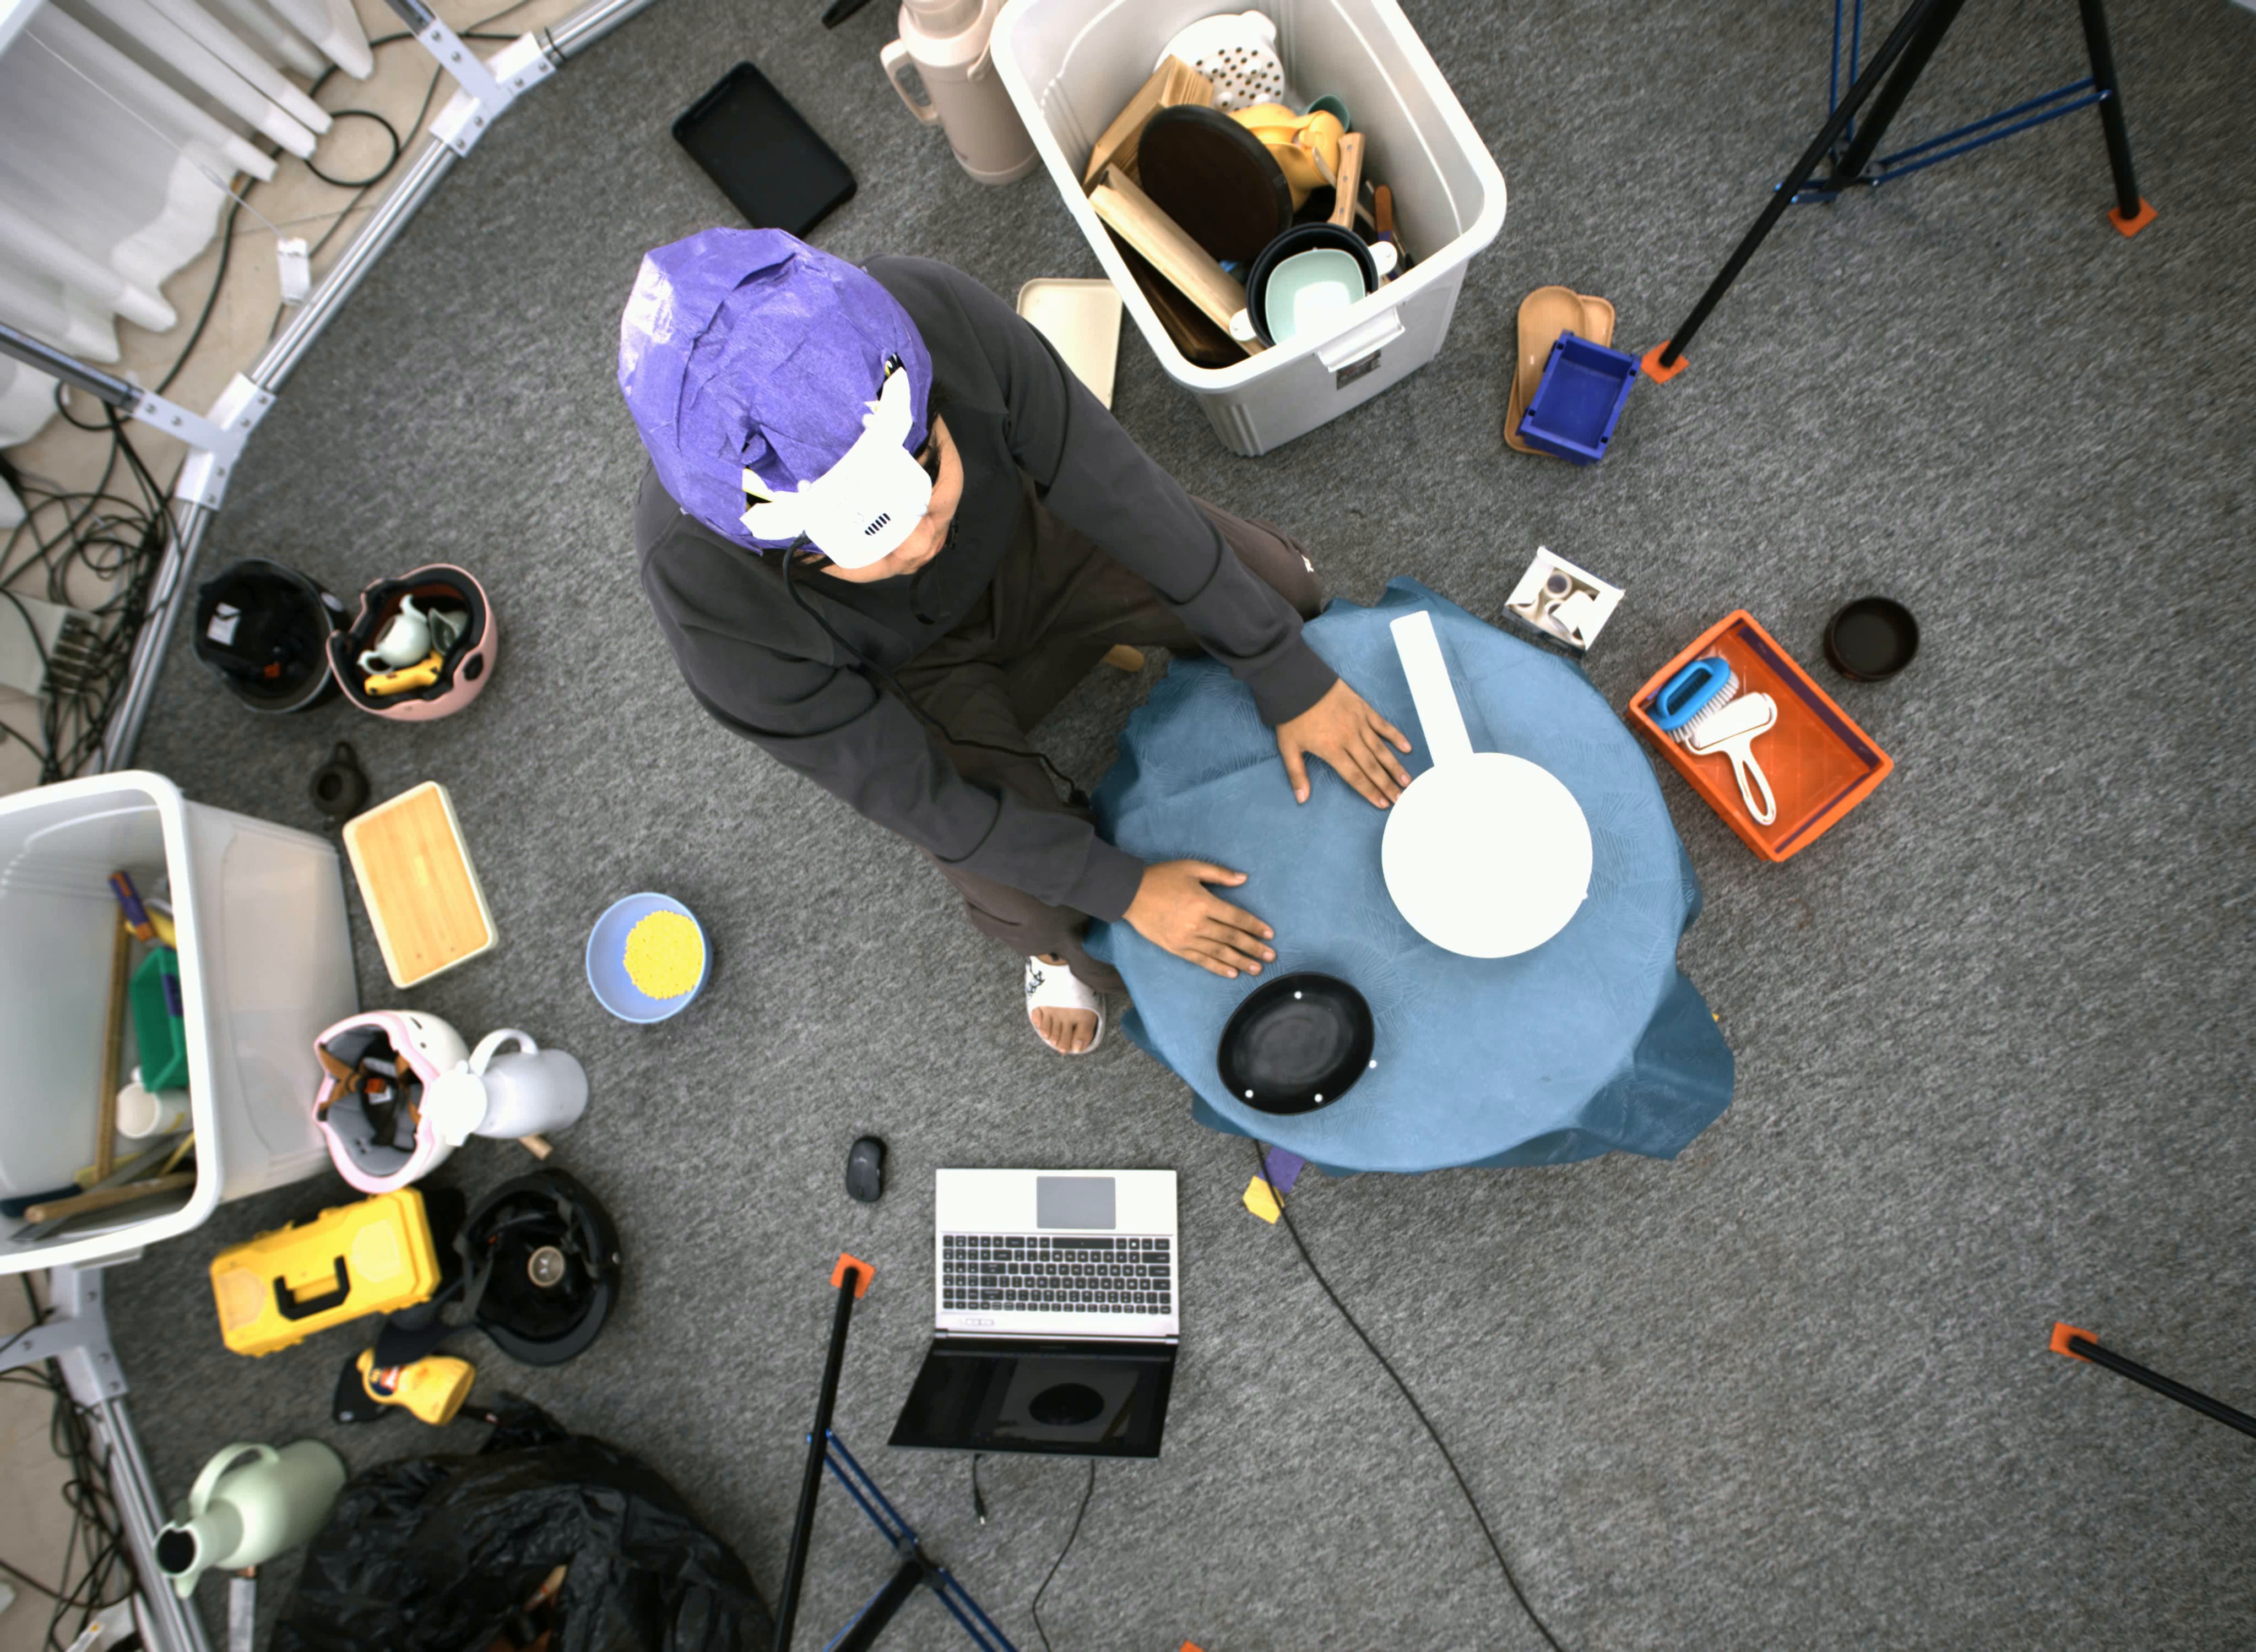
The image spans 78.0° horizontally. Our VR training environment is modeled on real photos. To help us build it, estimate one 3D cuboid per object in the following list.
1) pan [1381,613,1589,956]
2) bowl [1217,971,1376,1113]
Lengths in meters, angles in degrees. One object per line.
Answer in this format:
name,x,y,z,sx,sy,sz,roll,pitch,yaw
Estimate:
pan,0.341,-0.041,1.412,0.203,0.102,0.352,-18,81,13
bowl,0.176,0.223,1.437,0.171,0.066,0.136,-32,81,9
